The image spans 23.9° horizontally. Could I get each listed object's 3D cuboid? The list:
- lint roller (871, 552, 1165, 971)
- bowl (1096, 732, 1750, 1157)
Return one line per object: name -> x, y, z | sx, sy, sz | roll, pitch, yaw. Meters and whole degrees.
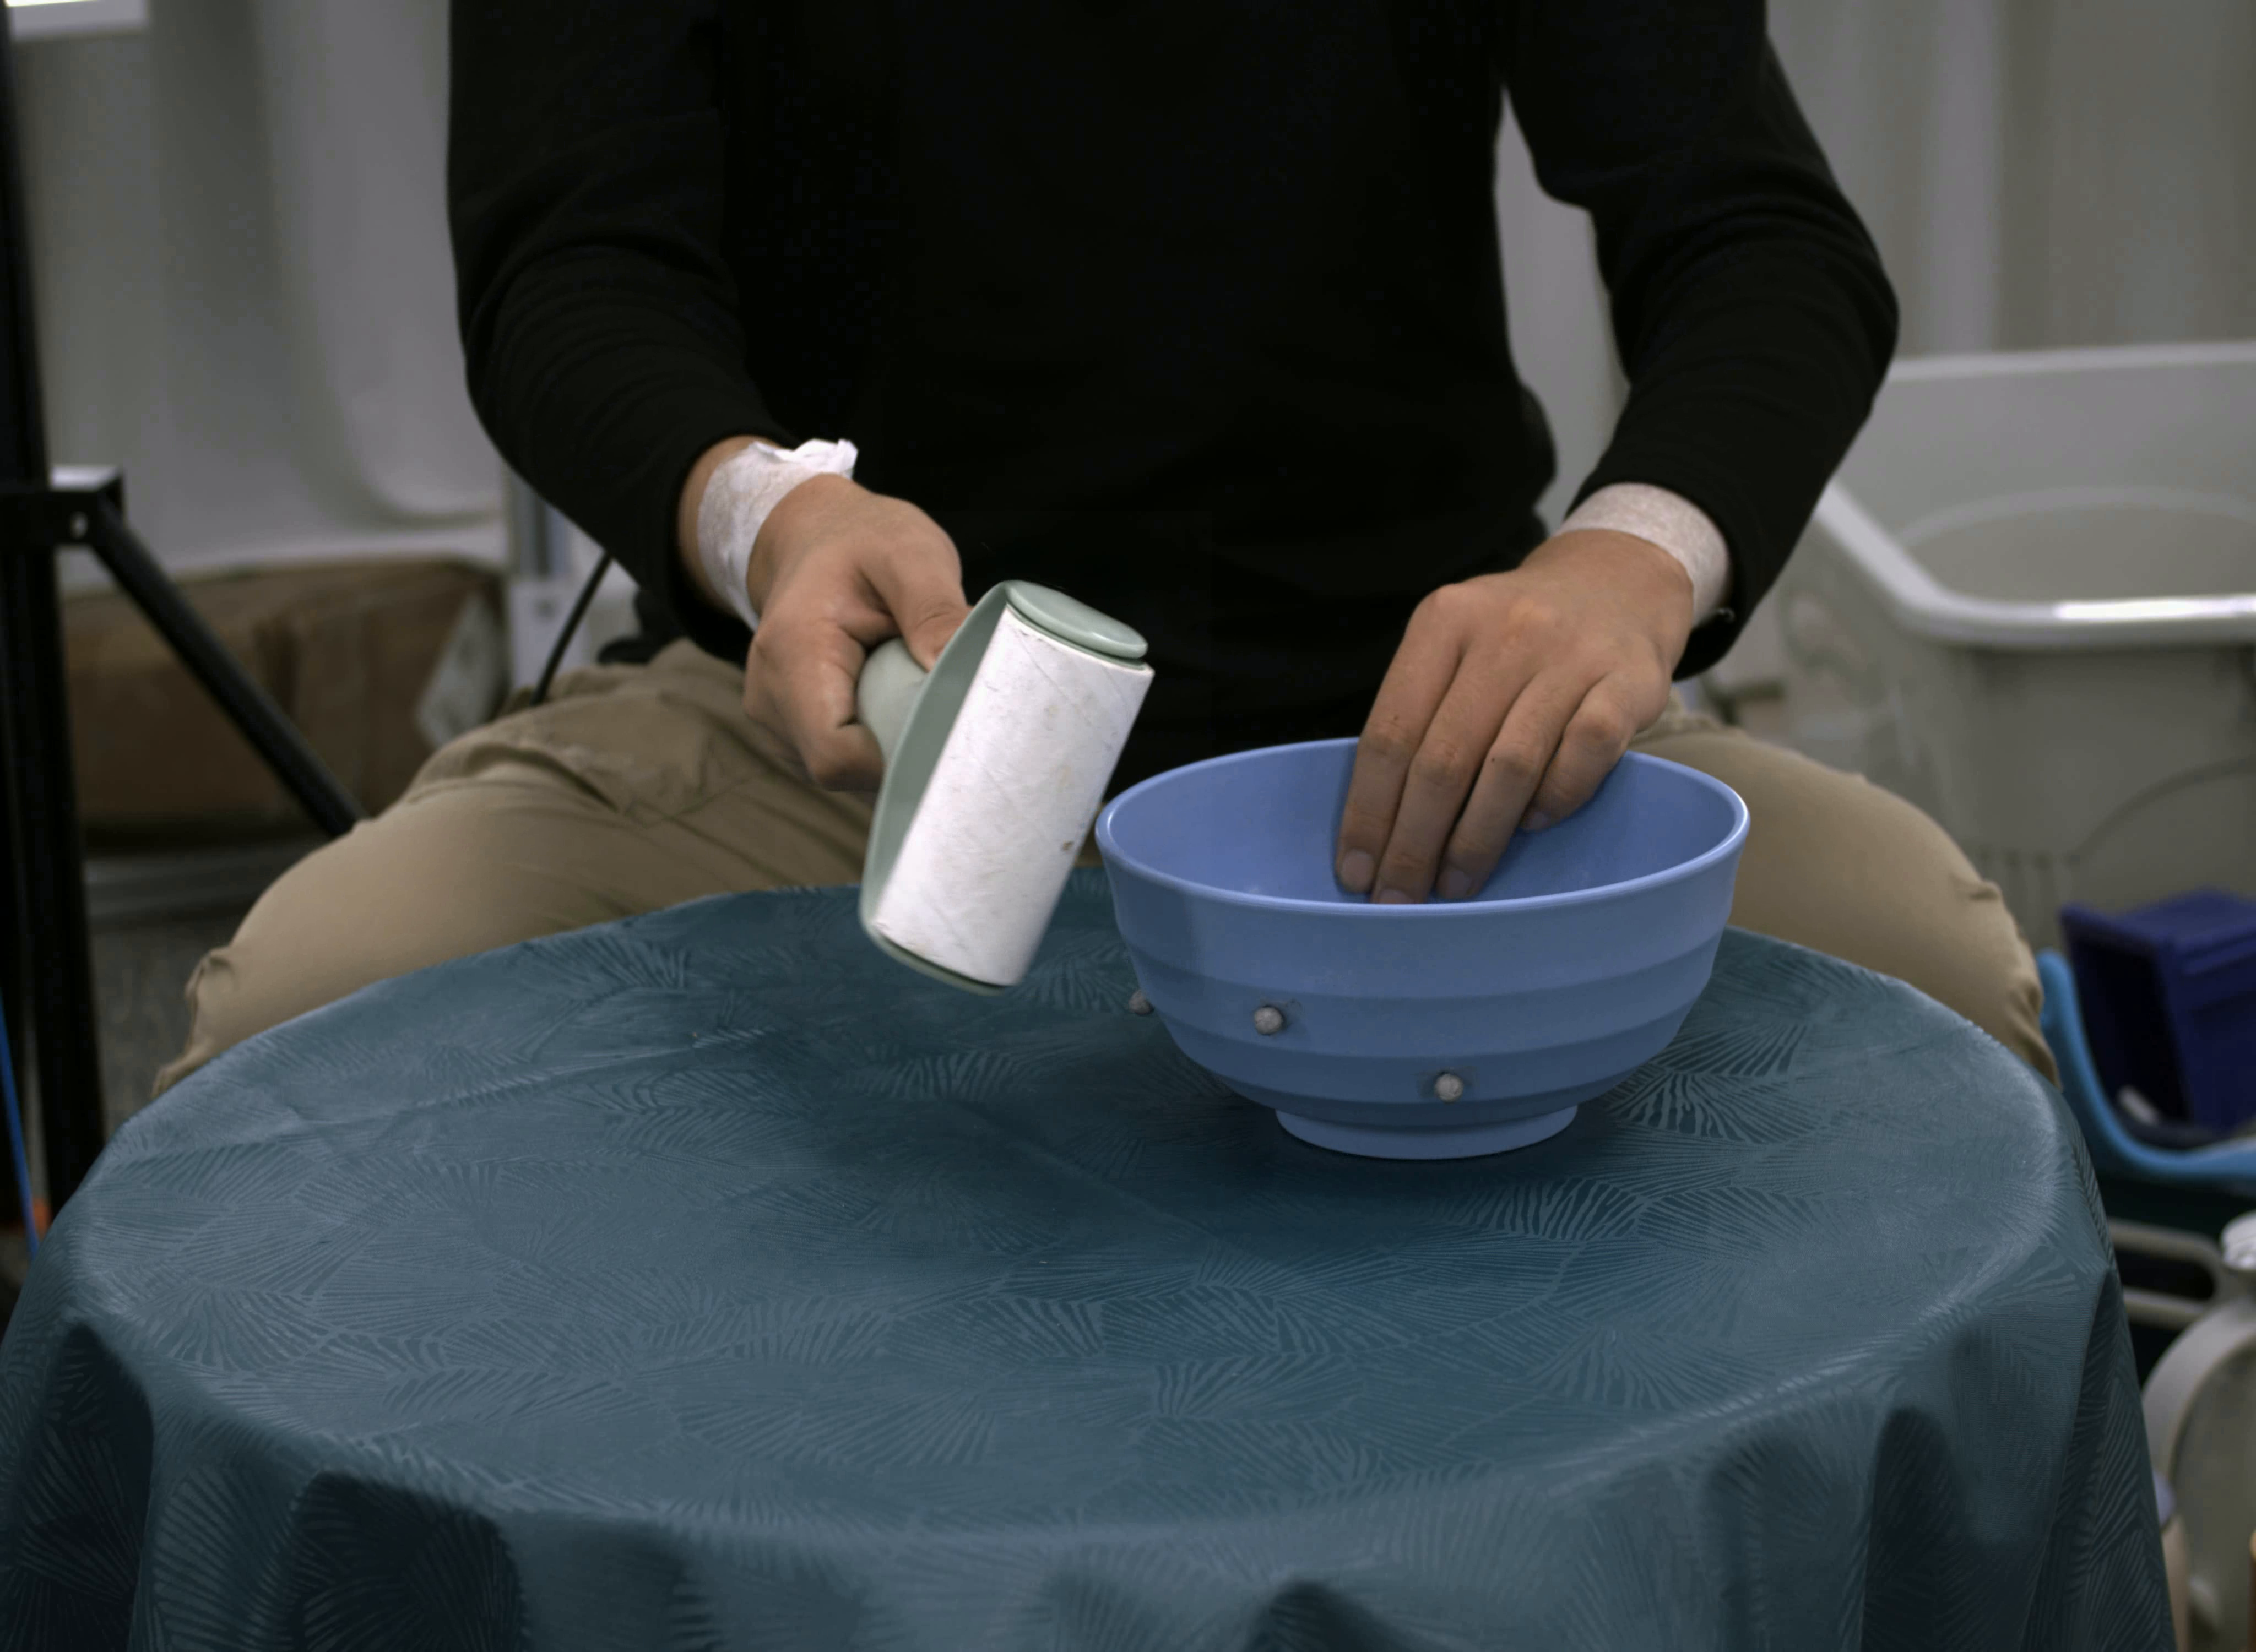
lint roller -> -0.050, -0.036, 1.601 | 0.047, 0.117, 0.201 | 18, 10, -22
bowl -> 0.090, 0.041, 1.599 | 0.195, 0.095, 0.197 | -4, 15, 0
